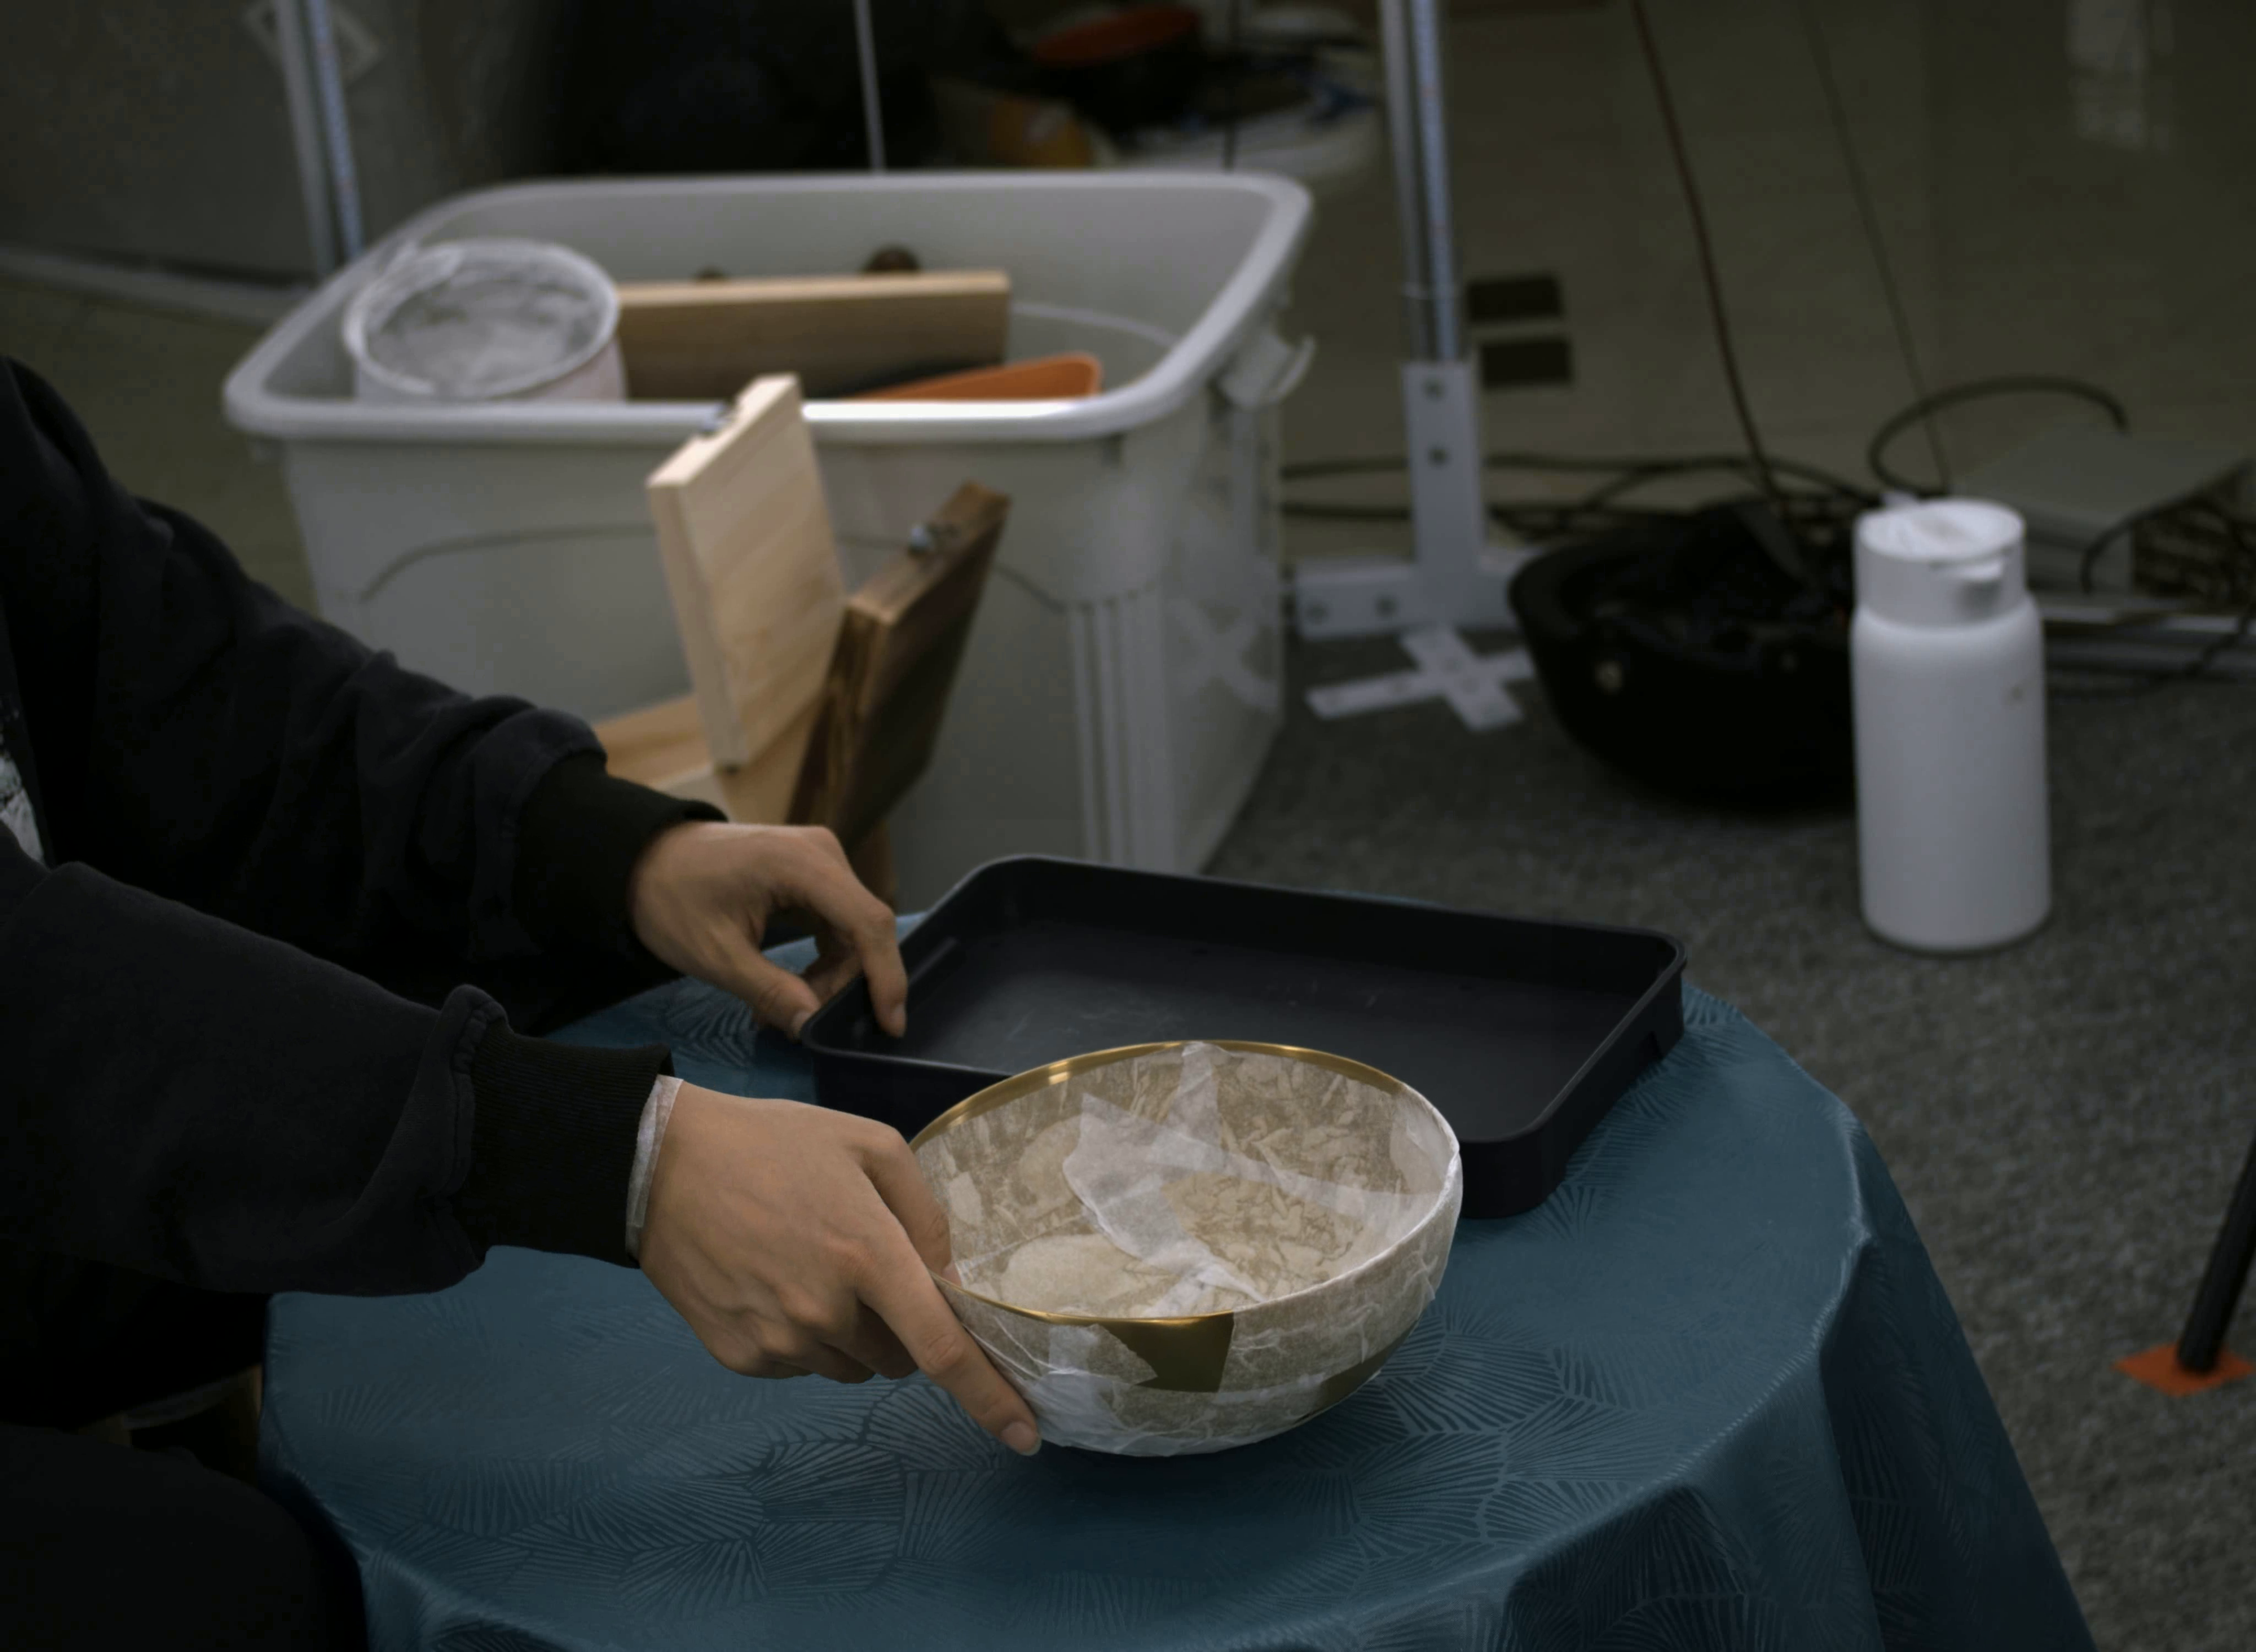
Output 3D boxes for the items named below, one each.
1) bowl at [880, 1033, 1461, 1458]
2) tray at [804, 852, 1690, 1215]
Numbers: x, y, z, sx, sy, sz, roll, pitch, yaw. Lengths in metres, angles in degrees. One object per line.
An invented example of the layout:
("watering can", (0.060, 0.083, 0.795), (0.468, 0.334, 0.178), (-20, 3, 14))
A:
("bowl", (0.015, 0.159, 1.994), (0.214, 0.096, 0.211), (-5, 27, 2))
("tray", (0.047, 0.078, 2.225), (0.317, 0.037, 0.182), (6, 29, 28))
